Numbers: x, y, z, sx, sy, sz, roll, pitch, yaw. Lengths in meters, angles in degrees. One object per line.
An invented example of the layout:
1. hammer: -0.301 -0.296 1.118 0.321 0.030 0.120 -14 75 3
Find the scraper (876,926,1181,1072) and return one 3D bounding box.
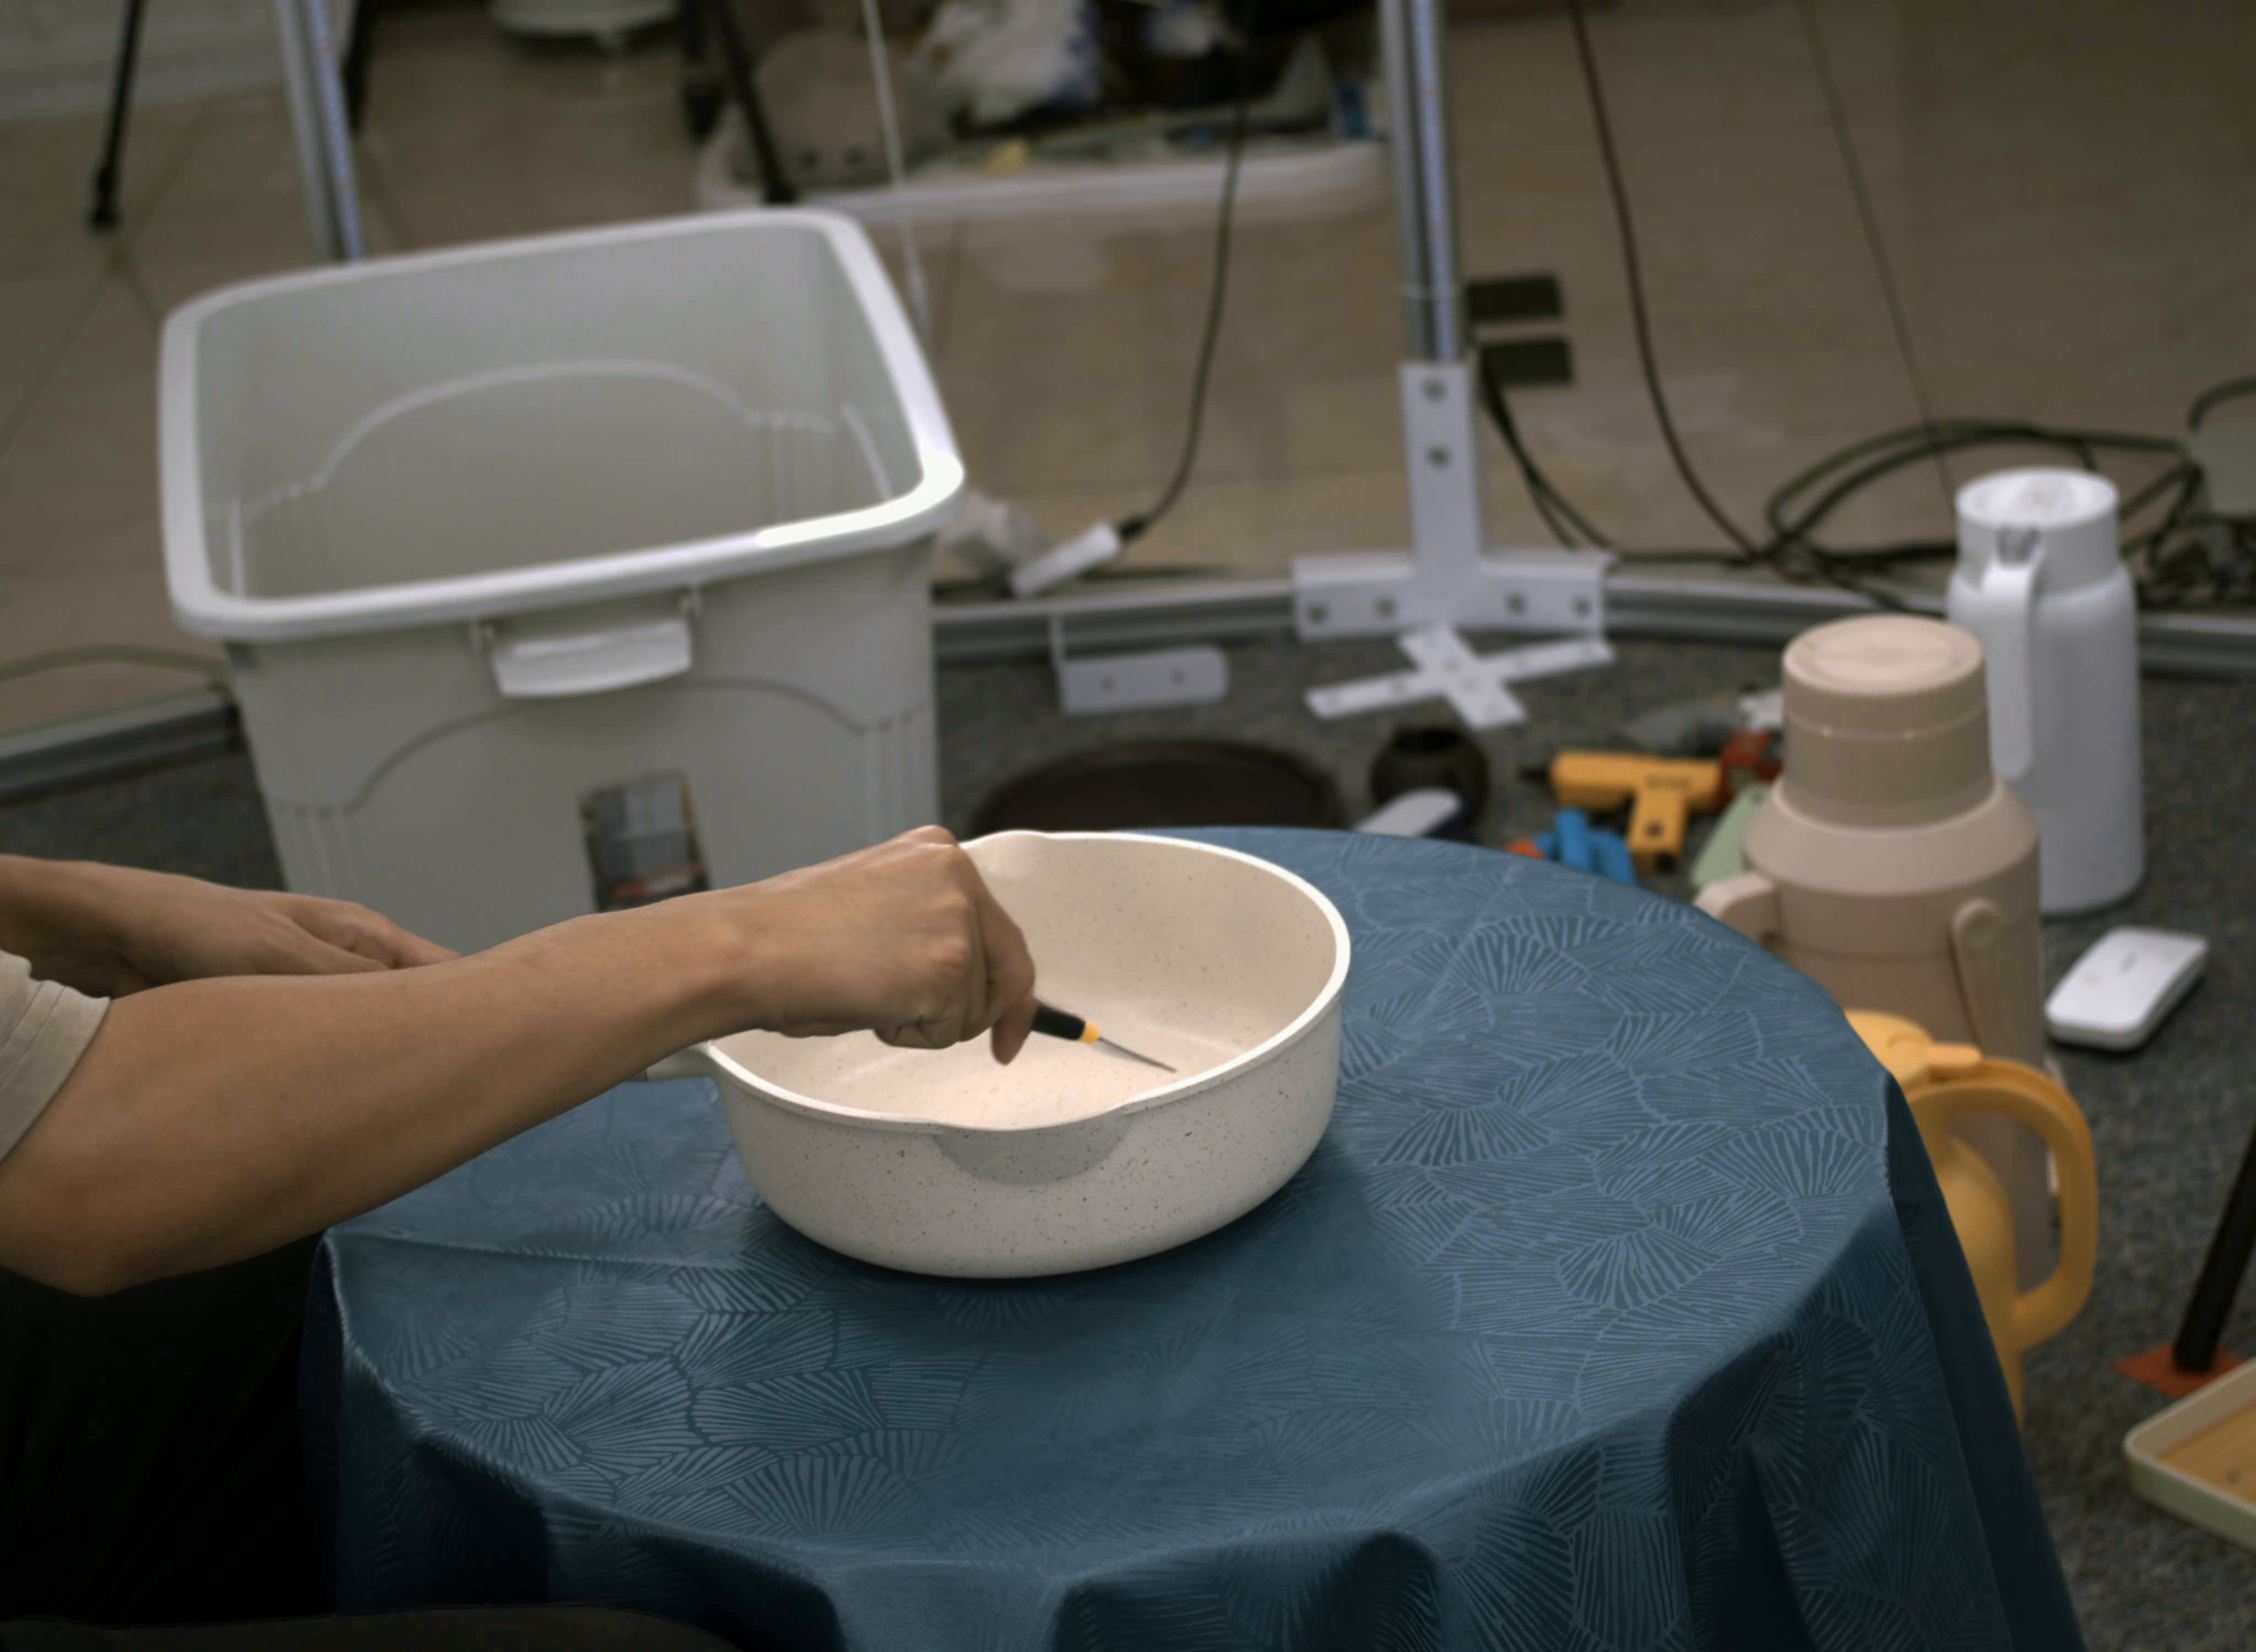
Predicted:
1. scraper: -0.036 0.064 2.042 0.038 0.015 0.172 24 -1 35

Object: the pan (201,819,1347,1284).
1. pan: -0.130 0.094 2.166 0.434 0.104 0.259 -7 27 -1
